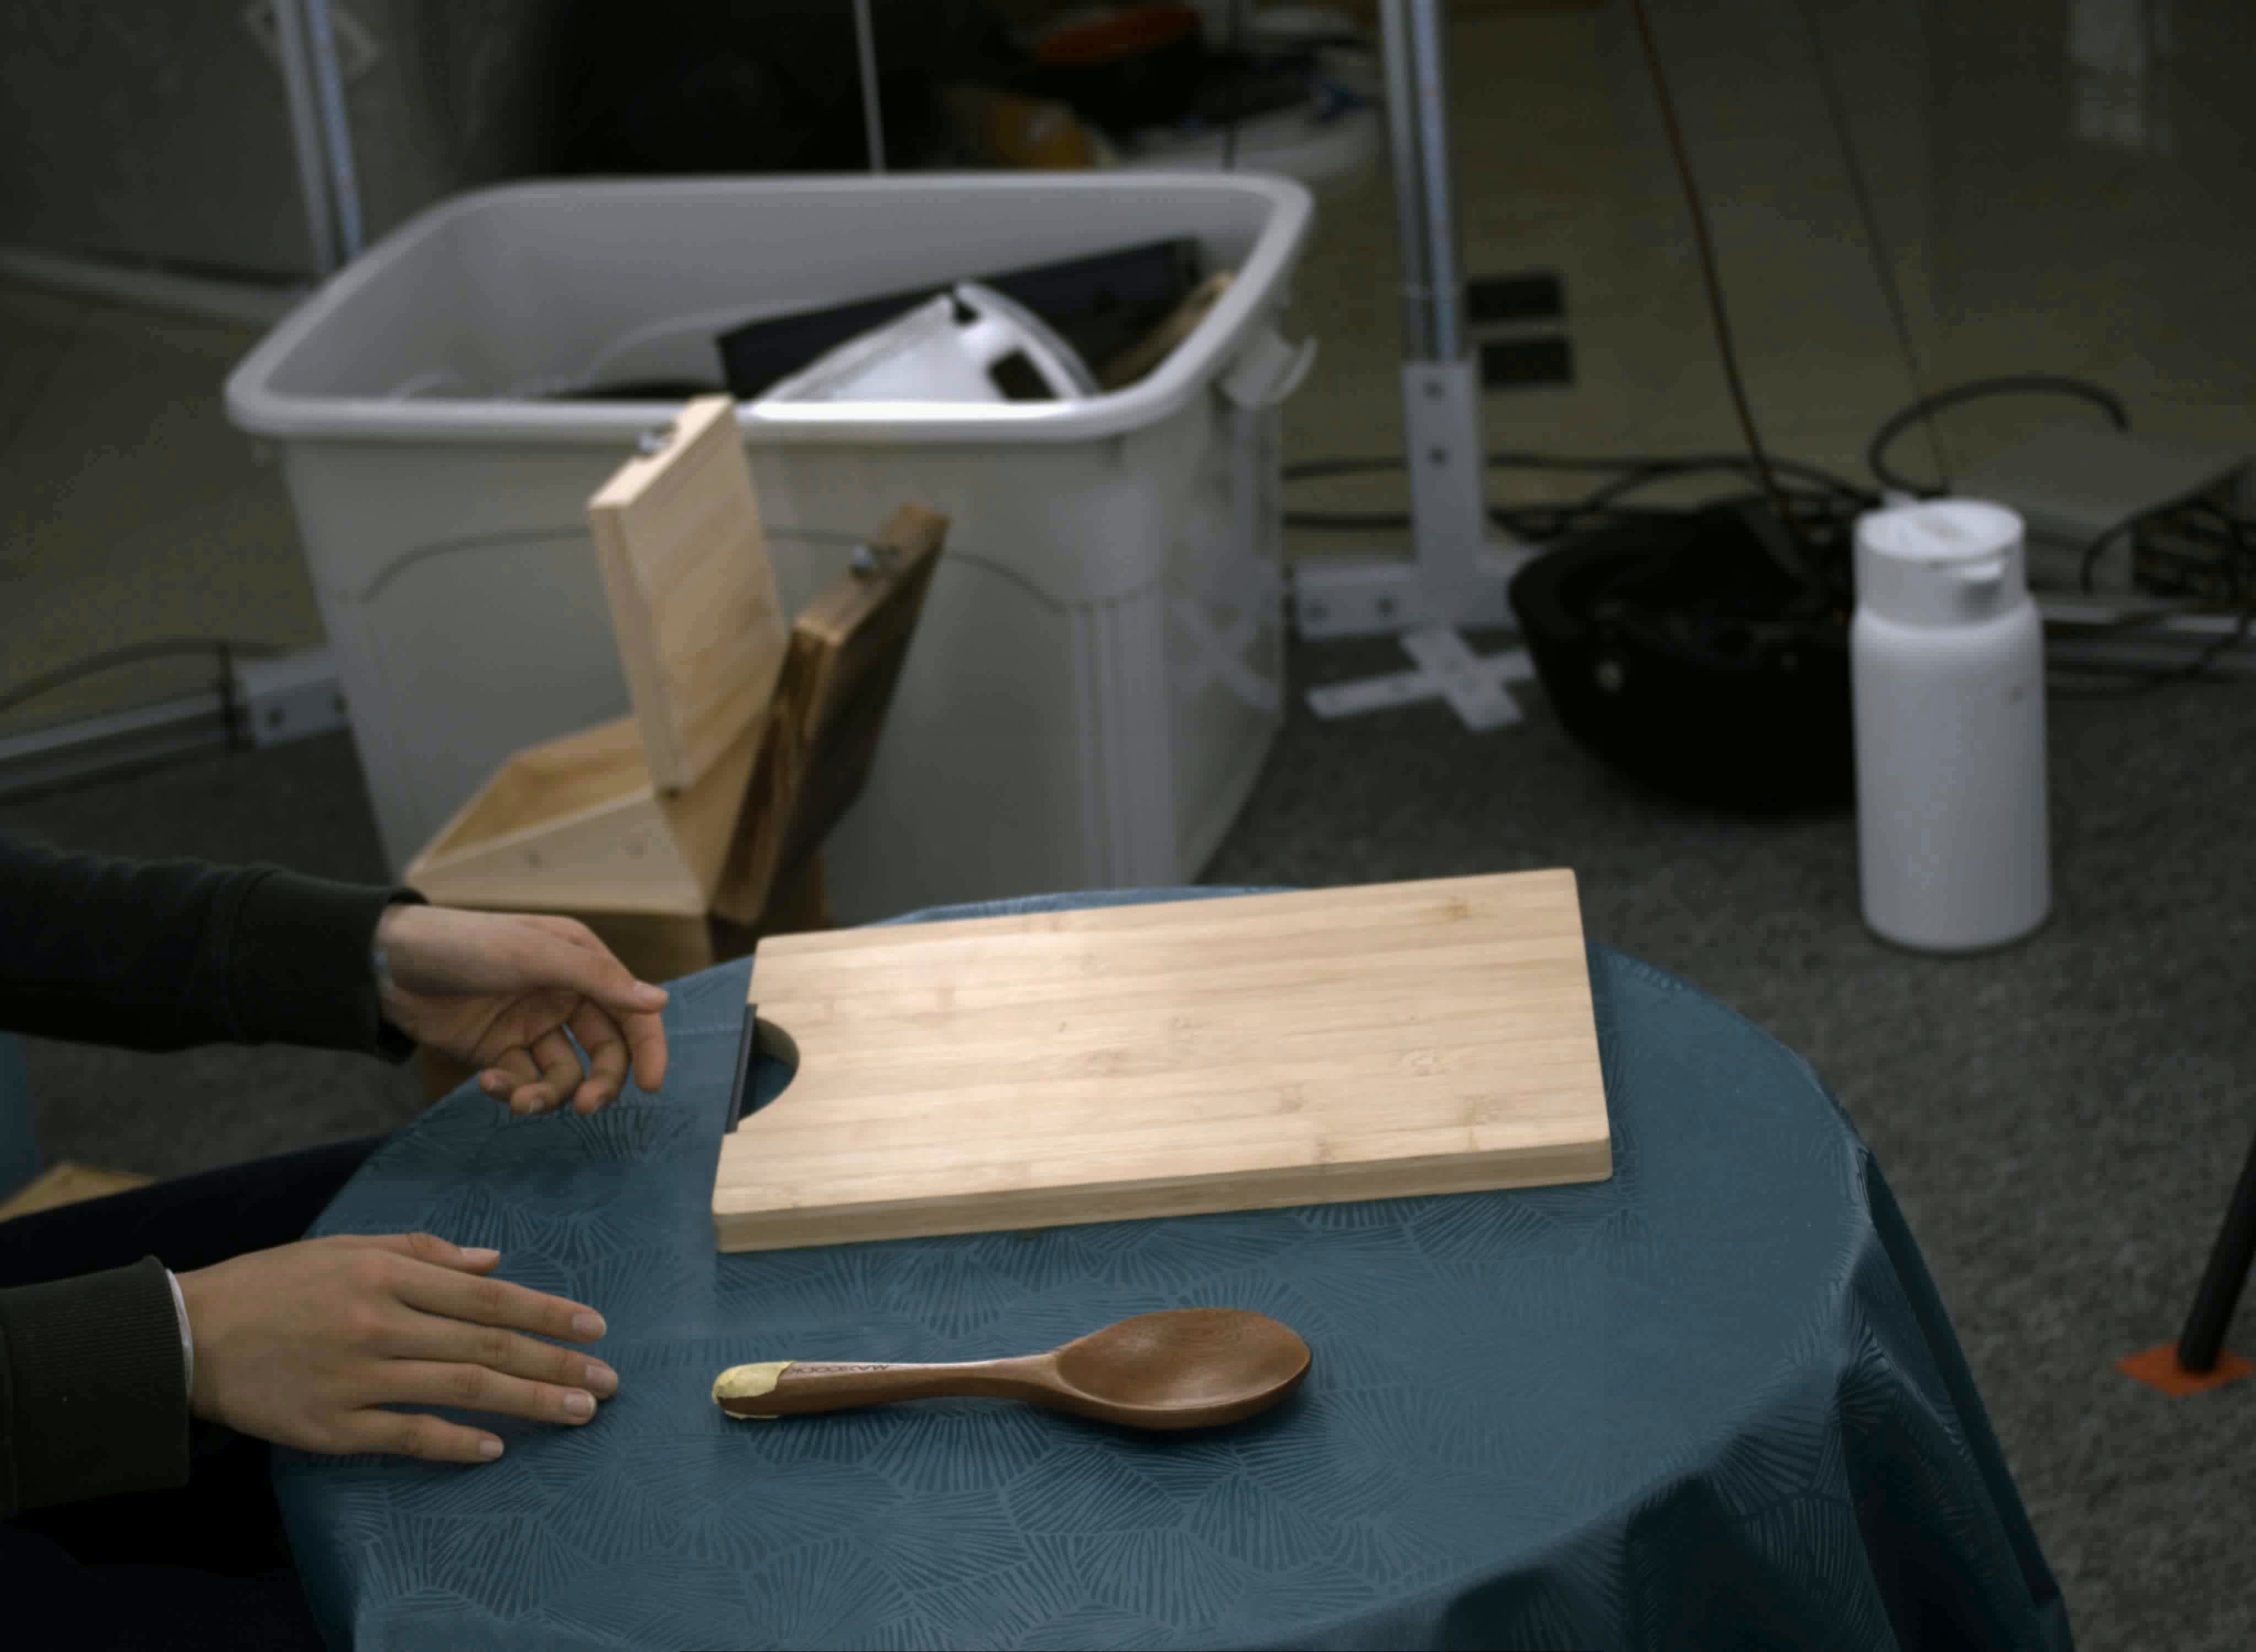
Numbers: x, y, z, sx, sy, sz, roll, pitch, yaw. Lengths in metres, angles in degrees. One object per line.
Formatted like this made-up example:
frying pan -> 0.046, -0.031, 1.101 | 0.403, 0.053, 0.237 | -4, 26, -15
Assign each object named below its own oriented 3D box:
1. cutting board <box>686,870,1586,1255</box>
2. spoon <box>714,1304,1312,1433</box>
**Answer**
cutting board -> 0.007, 0.091, 2.235 | 0.348, 0.024, 0.247 | -5, 24, 3
spoon -> -0.041, 0.196, 2.018 | 0.215, 0.017, 0.074 | -2, 27, 8
